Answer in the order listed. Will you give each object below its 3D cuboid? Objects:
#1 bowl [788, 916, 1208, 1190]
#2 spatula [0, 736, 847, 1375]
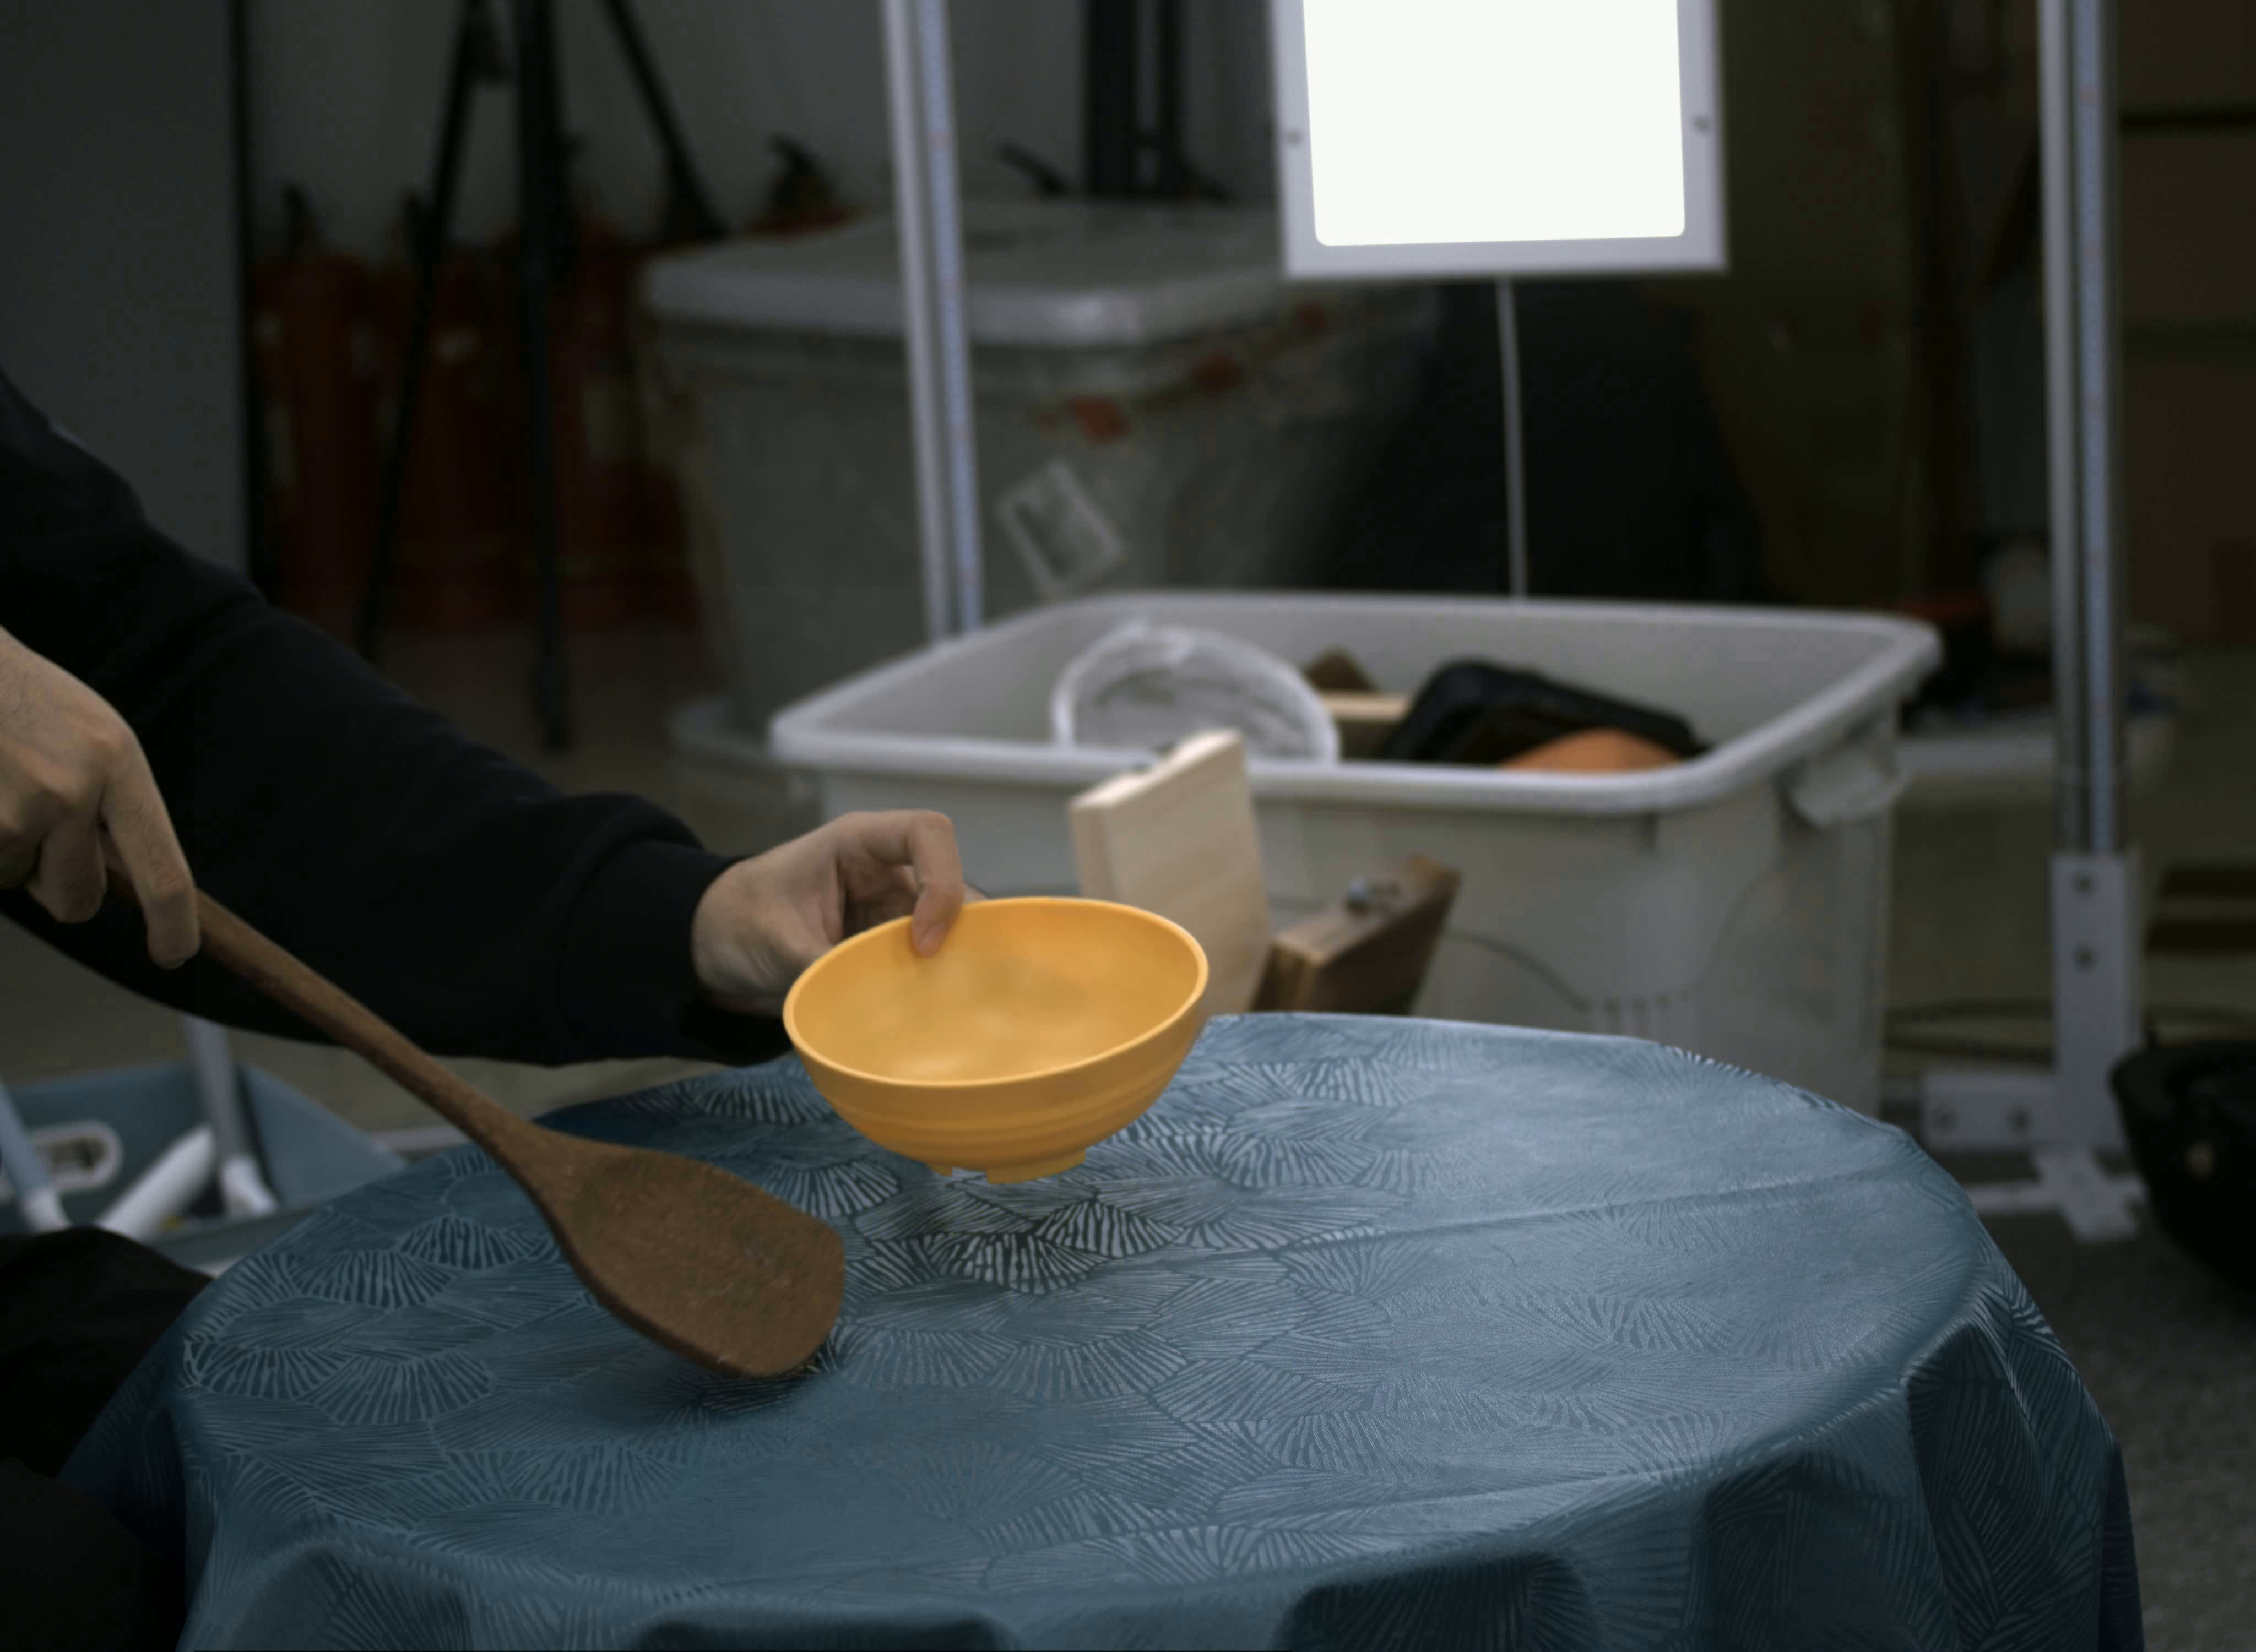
[{"bbox_3d":[-0.041,0.083,1.866,0.145,0.060,0.145,-7,21,1],"label":"bowl"},{"bbox_3d":[-0.254,0.054,1.746,0.385,0.016,0.095,34,31,-1],"label":"spatula"}]
